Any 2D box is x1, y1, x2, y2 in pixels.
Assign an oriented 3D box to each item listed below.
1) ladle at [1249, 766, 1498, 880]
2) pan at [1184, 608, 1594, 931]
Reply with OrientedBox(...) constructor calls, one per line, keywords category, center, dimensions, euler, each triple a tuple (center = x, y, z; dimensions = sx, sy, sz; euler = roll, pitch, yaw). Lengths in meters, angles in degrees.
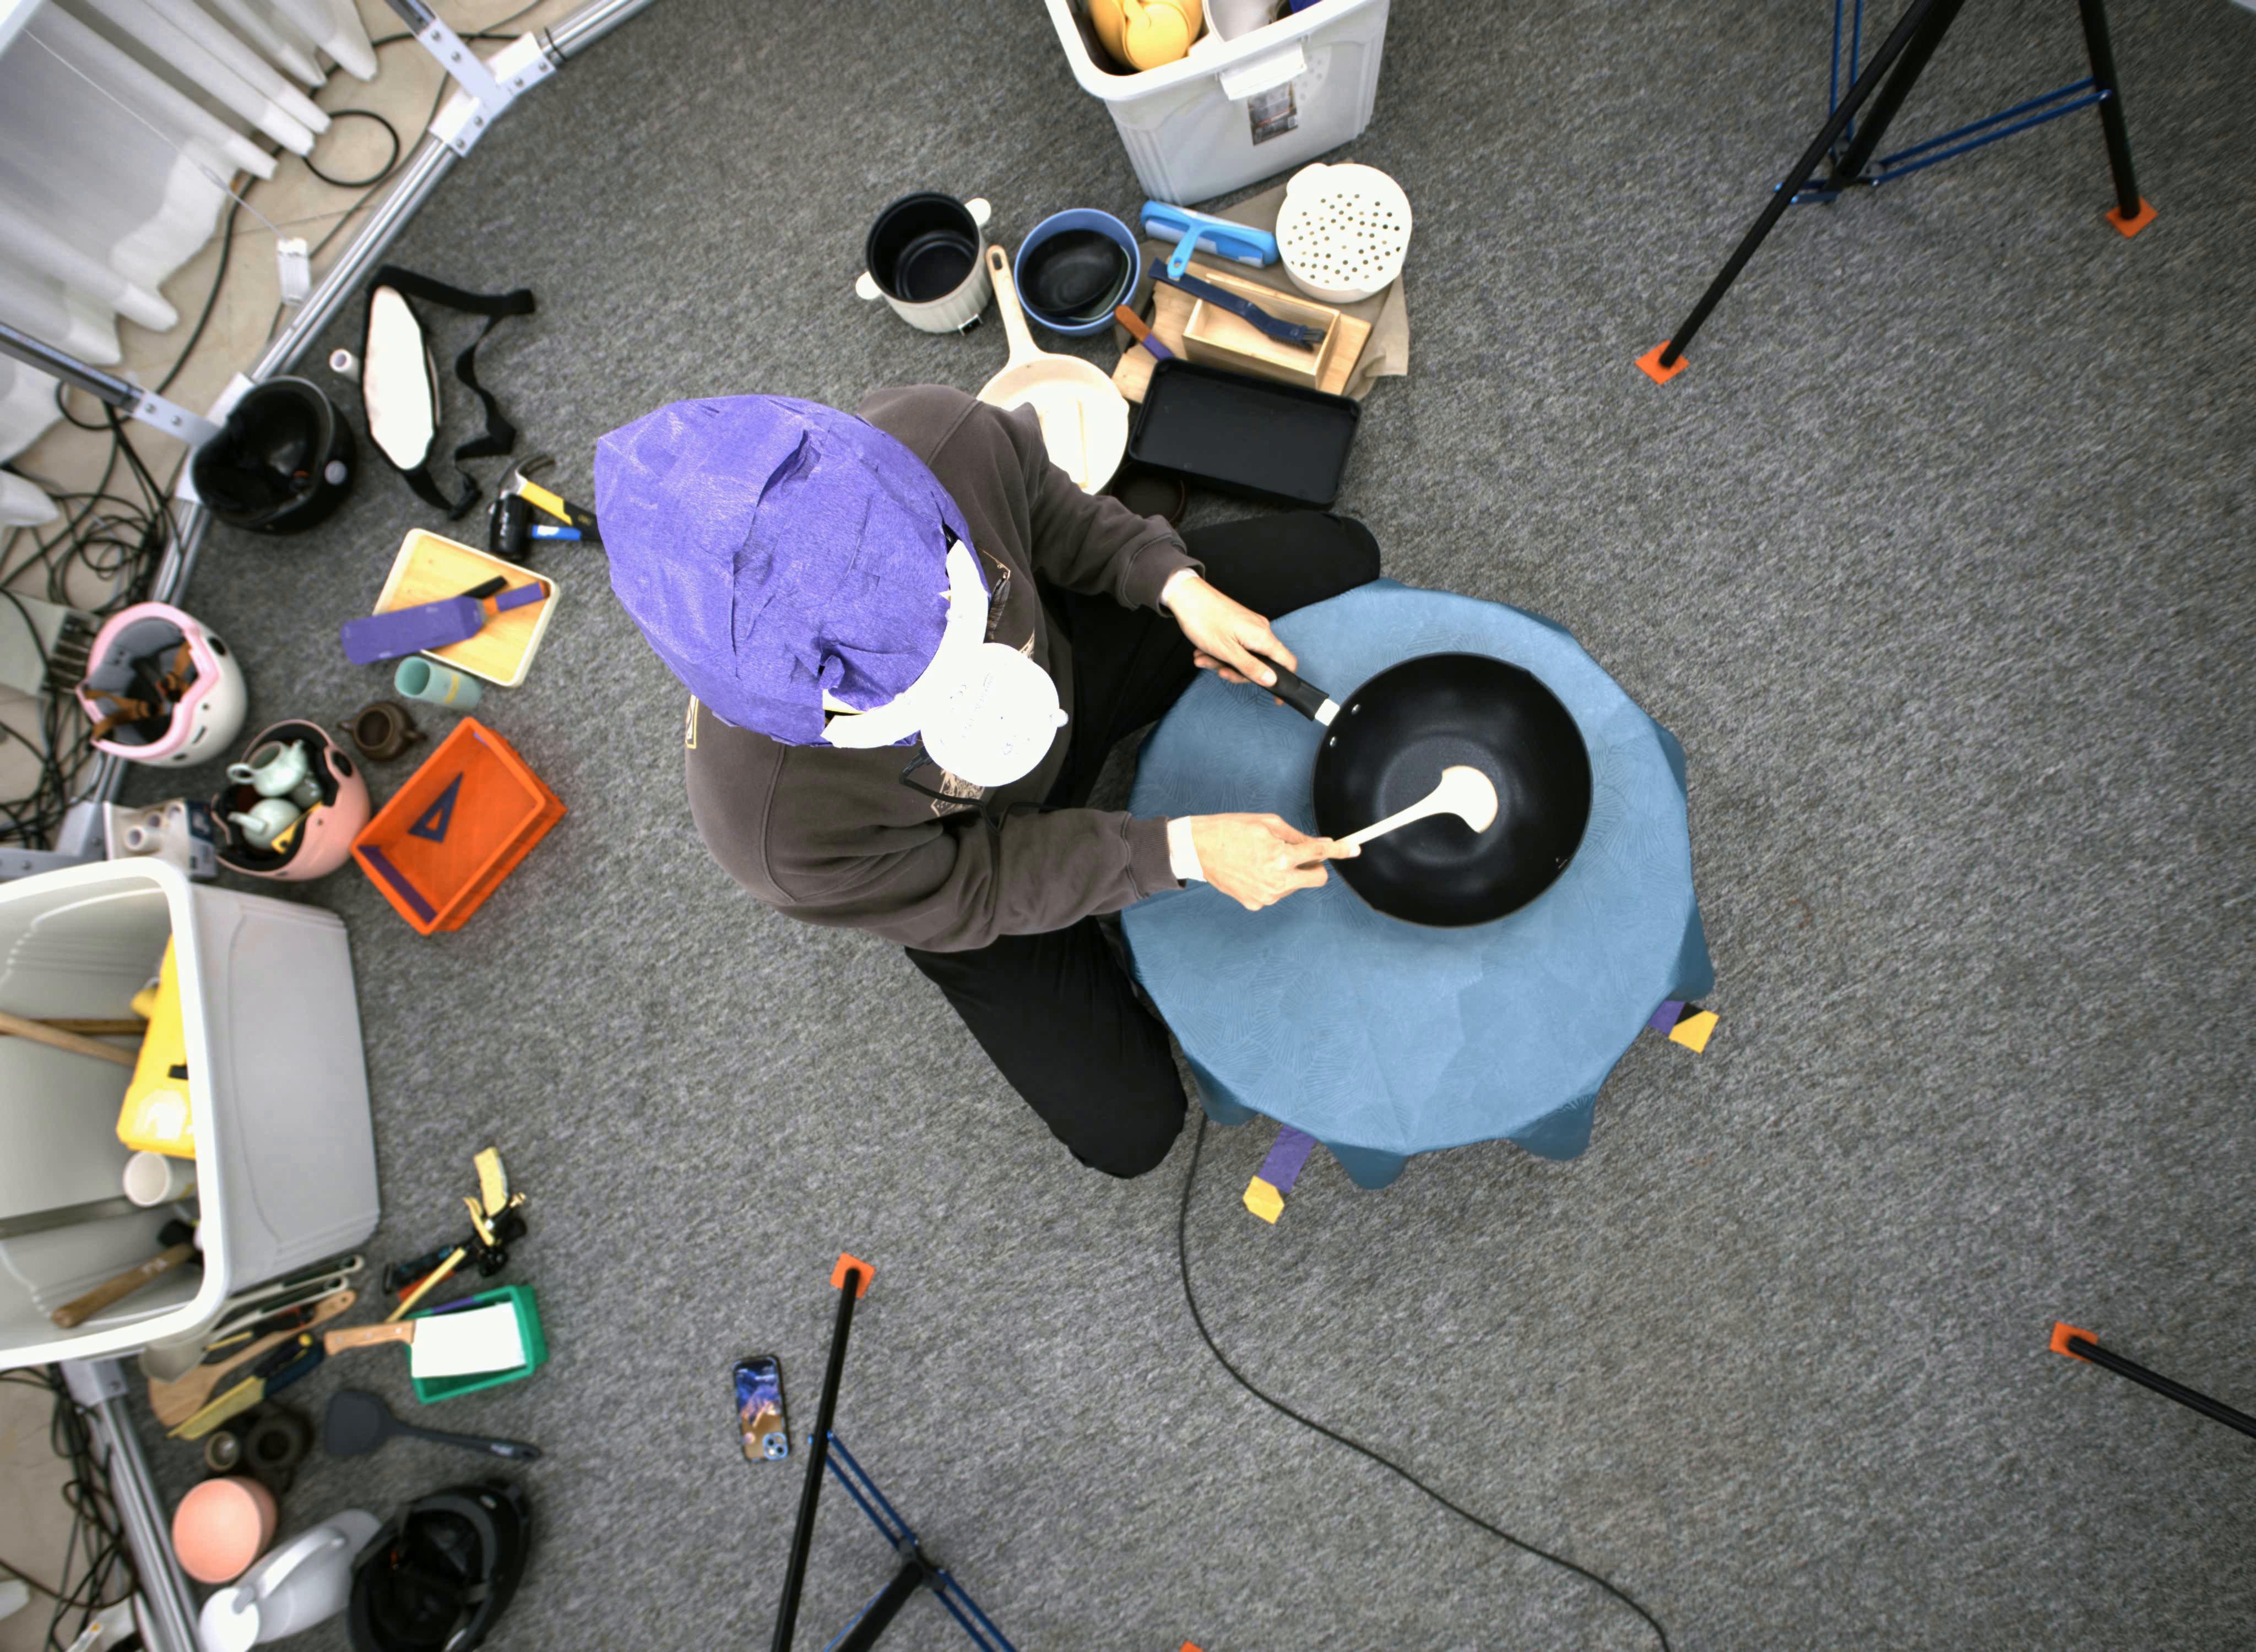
OrientedBox(category="ladle", center=(0.242, 0.010, 1.371), dimensions=(0.255, 0.073, 0.071), euler=(-21, 74, 4))
OrientedBox(category="pan", center=(0.253, -0.083, 1.427), dimensions=(0.462, 0.087, 0.289), euler=(34, 94, 12))
